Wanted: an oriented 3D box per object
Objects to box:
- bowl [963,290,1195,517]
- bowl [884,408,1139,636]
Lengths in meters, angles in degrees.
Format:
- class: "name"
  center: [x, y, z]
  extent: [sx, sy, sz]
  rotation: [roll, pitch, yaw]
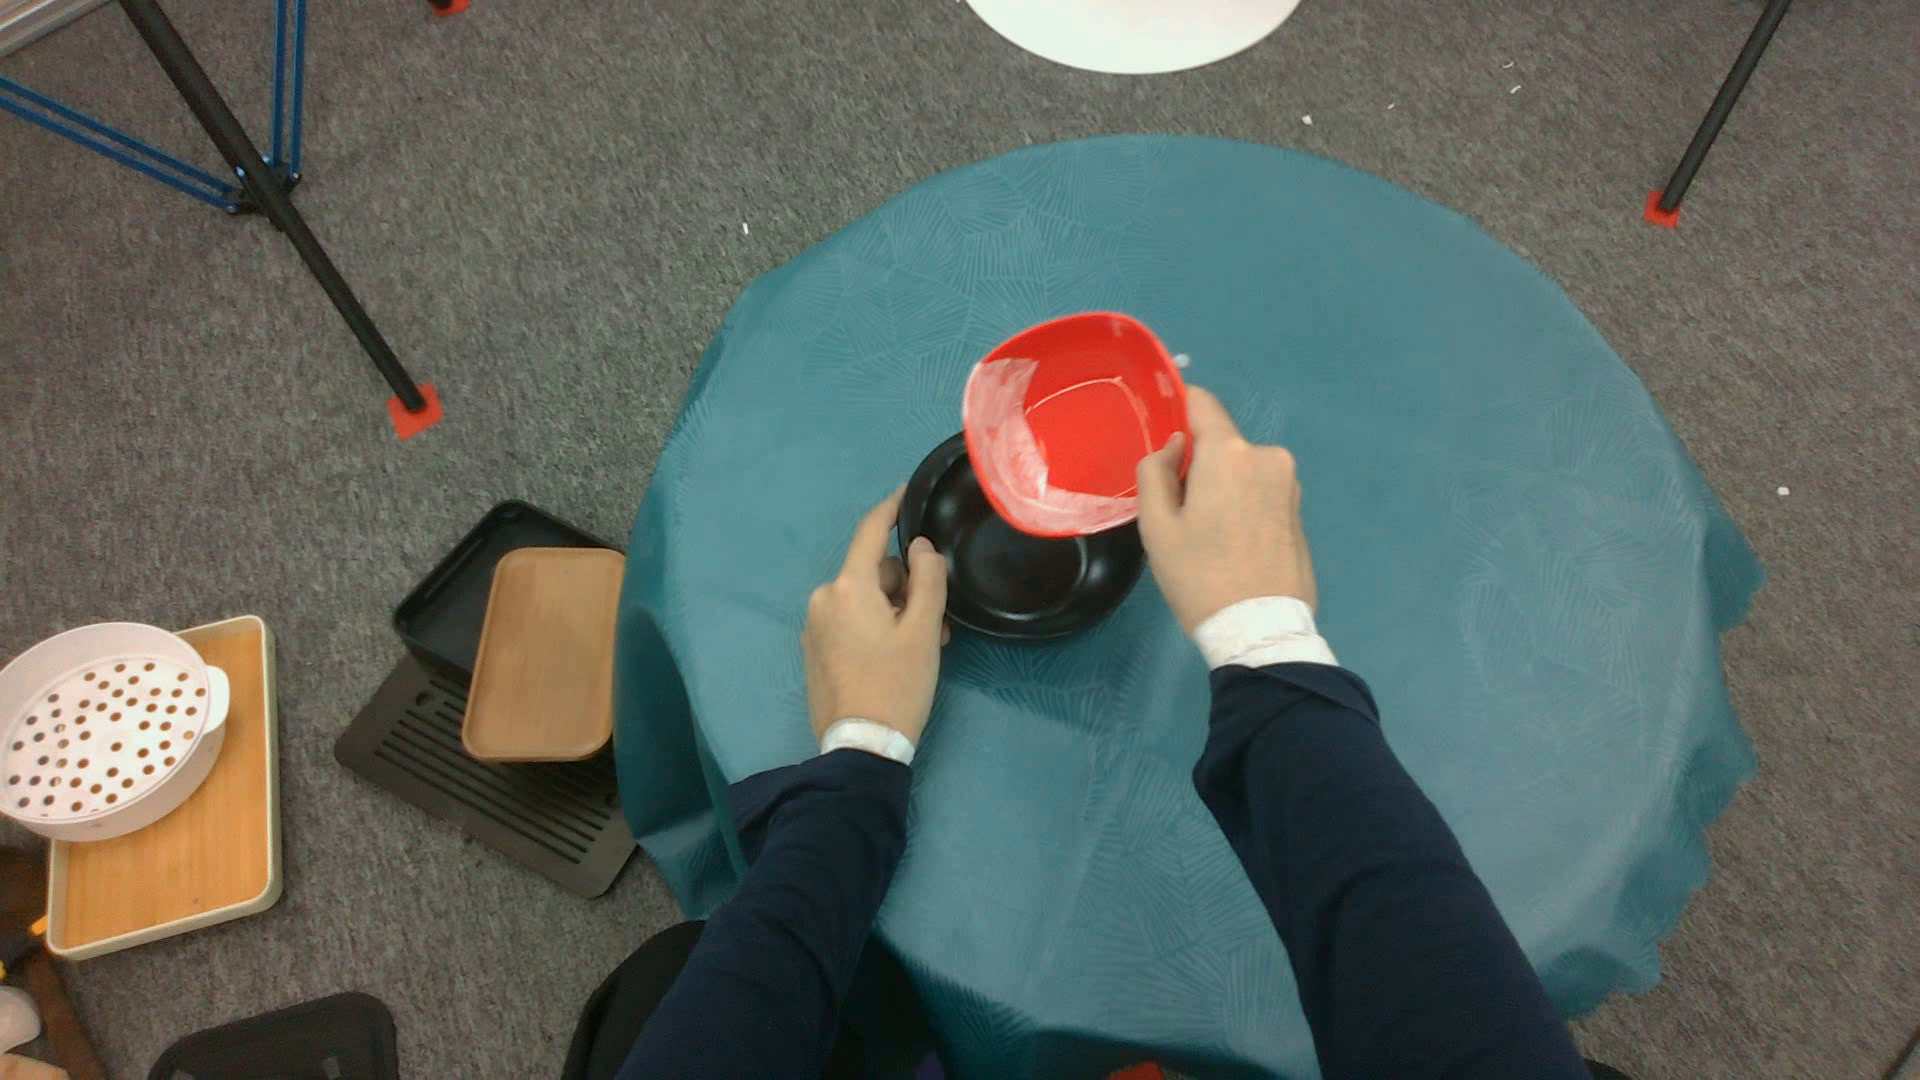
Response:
- class: "bowl"
  center: [0.062, -0.062, 0.688]
  extent: [0.119, 0.051, 0.119]
  rotation: [-2, 78, 12]
- class: "bowl"
  center: [0.028, -0.006, 0.767]
  extent: [0.140, 0.049, 0.140]
  rotation: [0, 66, 1]
